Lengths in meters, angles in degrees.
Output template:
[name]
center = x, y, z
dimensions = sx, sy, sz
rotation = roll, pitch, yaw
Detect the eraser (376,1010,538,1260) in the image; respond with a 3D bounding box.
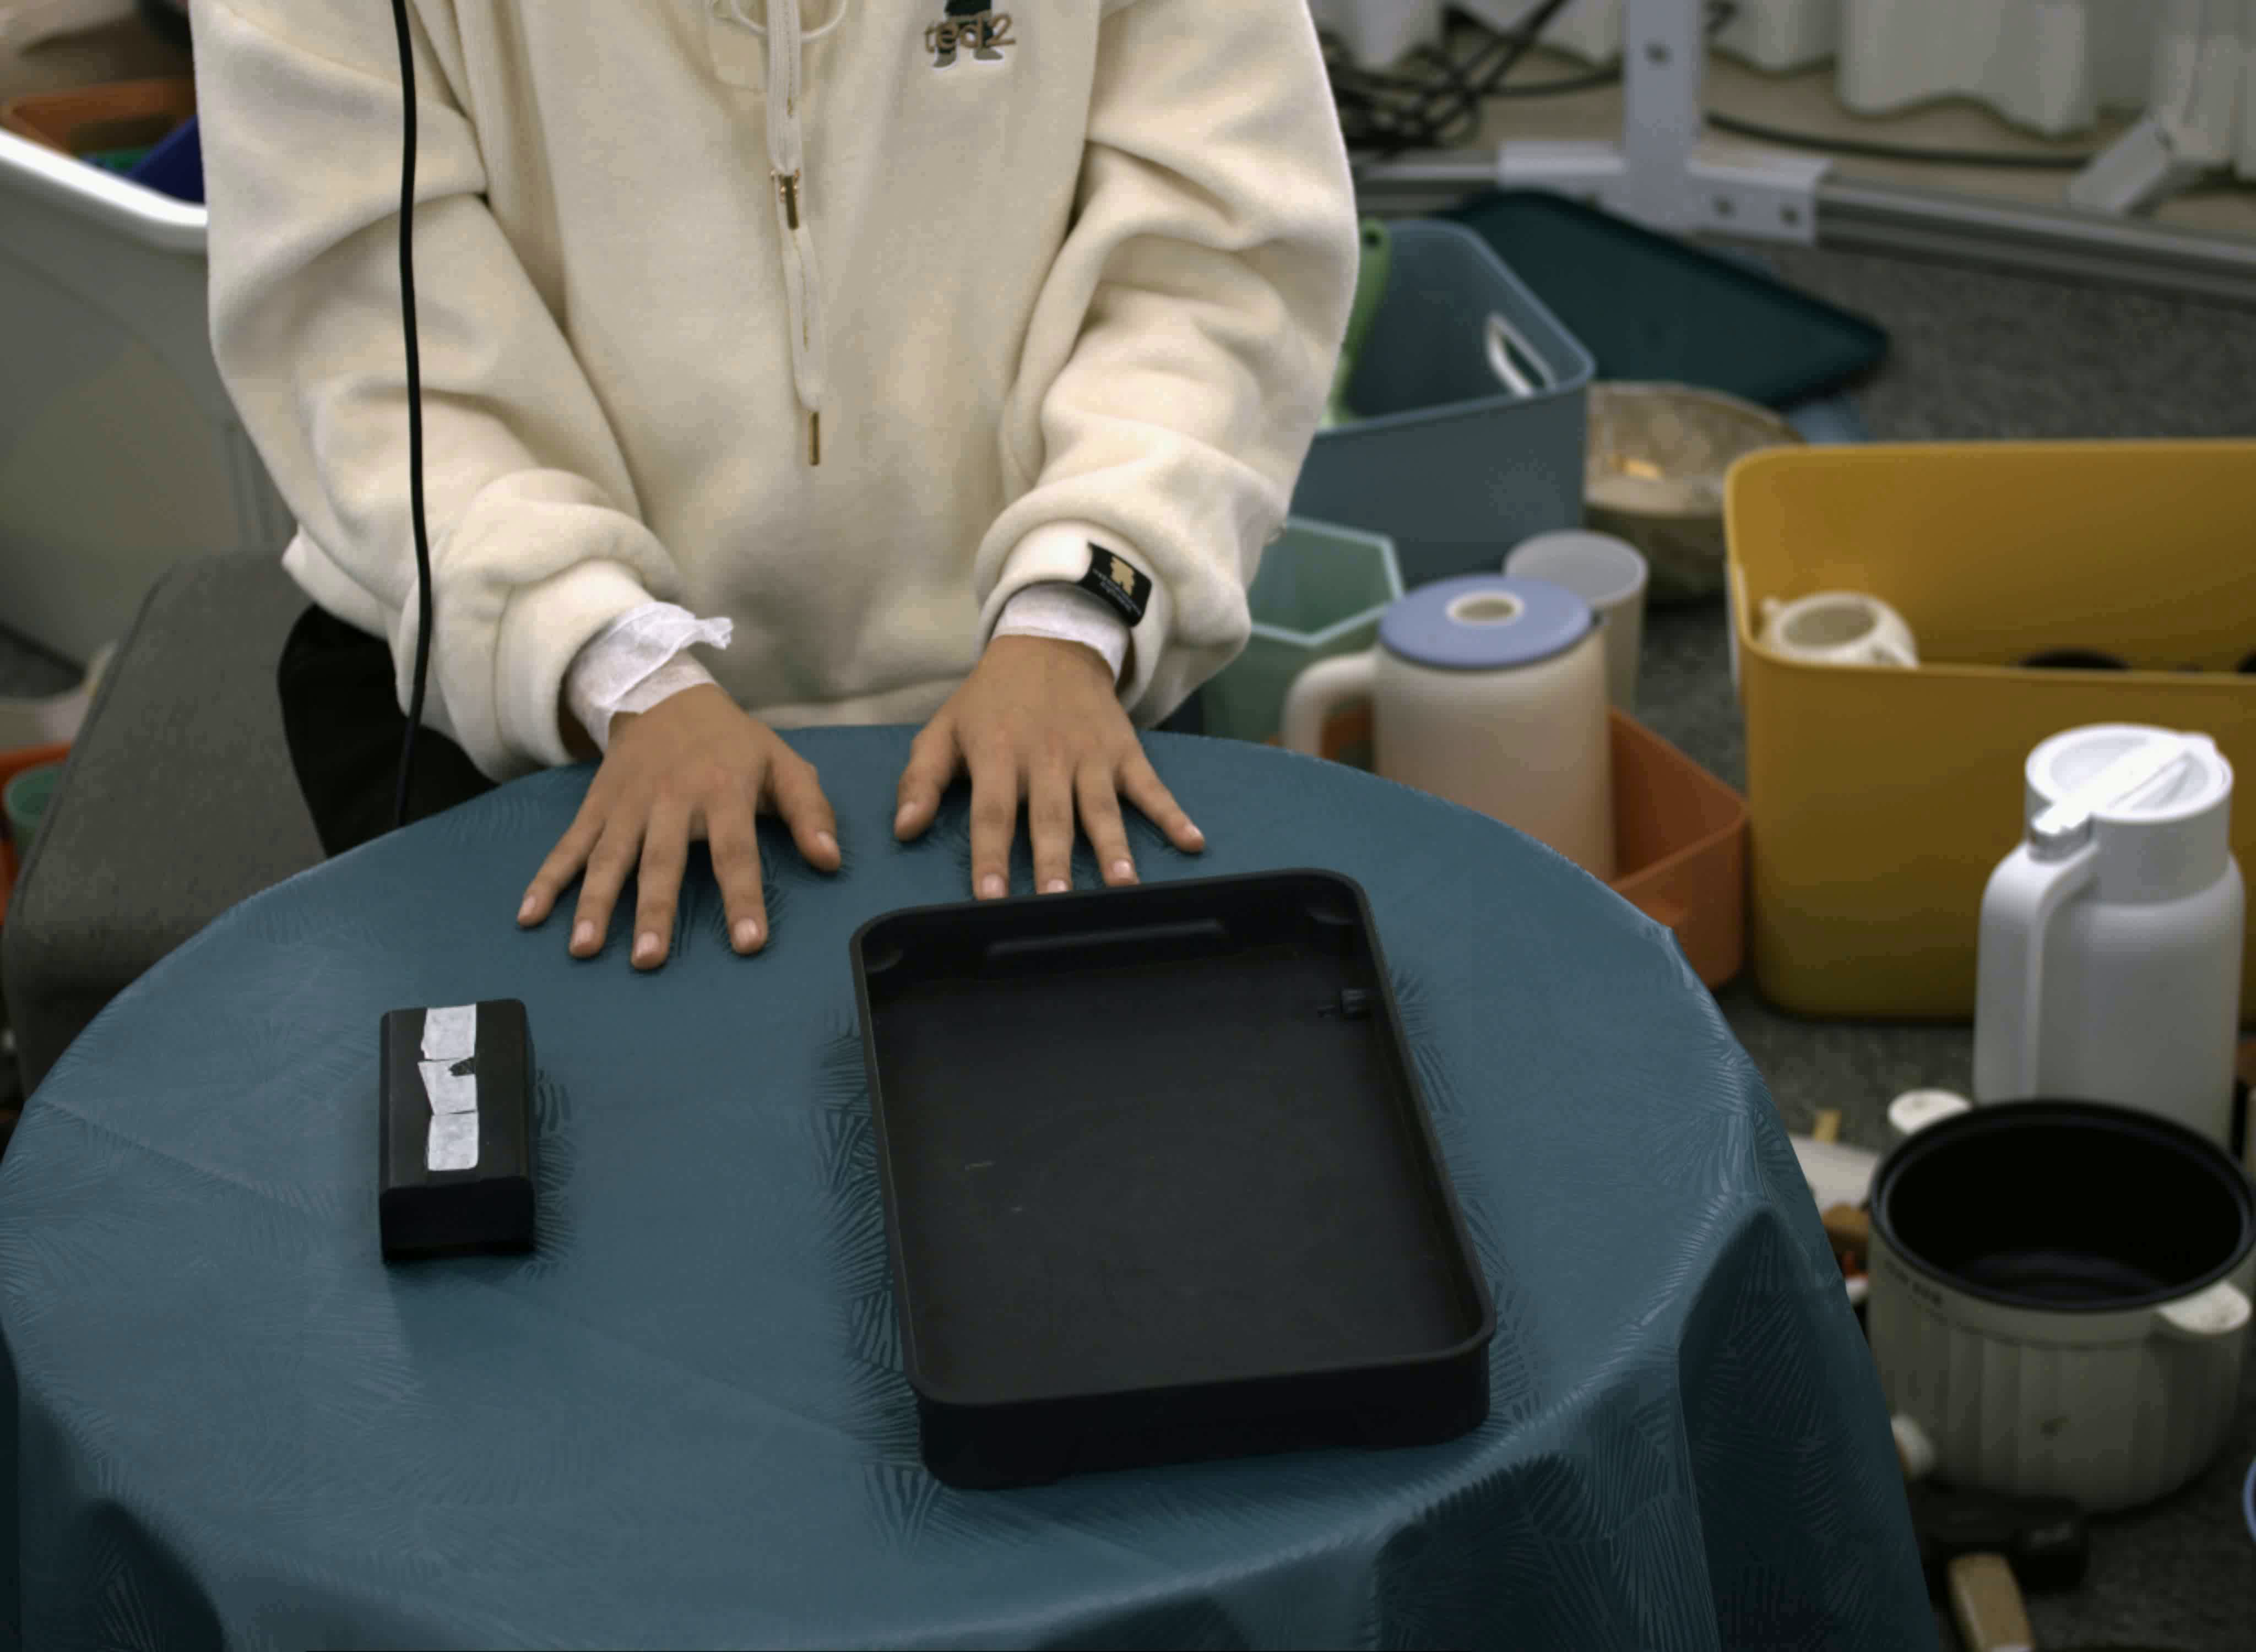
[eraser]
center = -0.226, 0.104, 1.889
dimensions = 0.053, 0.030, 0.127
rotation = -2, 26, -7

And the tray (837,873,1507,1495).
[tray]
center = 0.008, 0.111, 1.840
dimensions = 0.184, 0.036, 0.322
rotation = -6, 27, -6
